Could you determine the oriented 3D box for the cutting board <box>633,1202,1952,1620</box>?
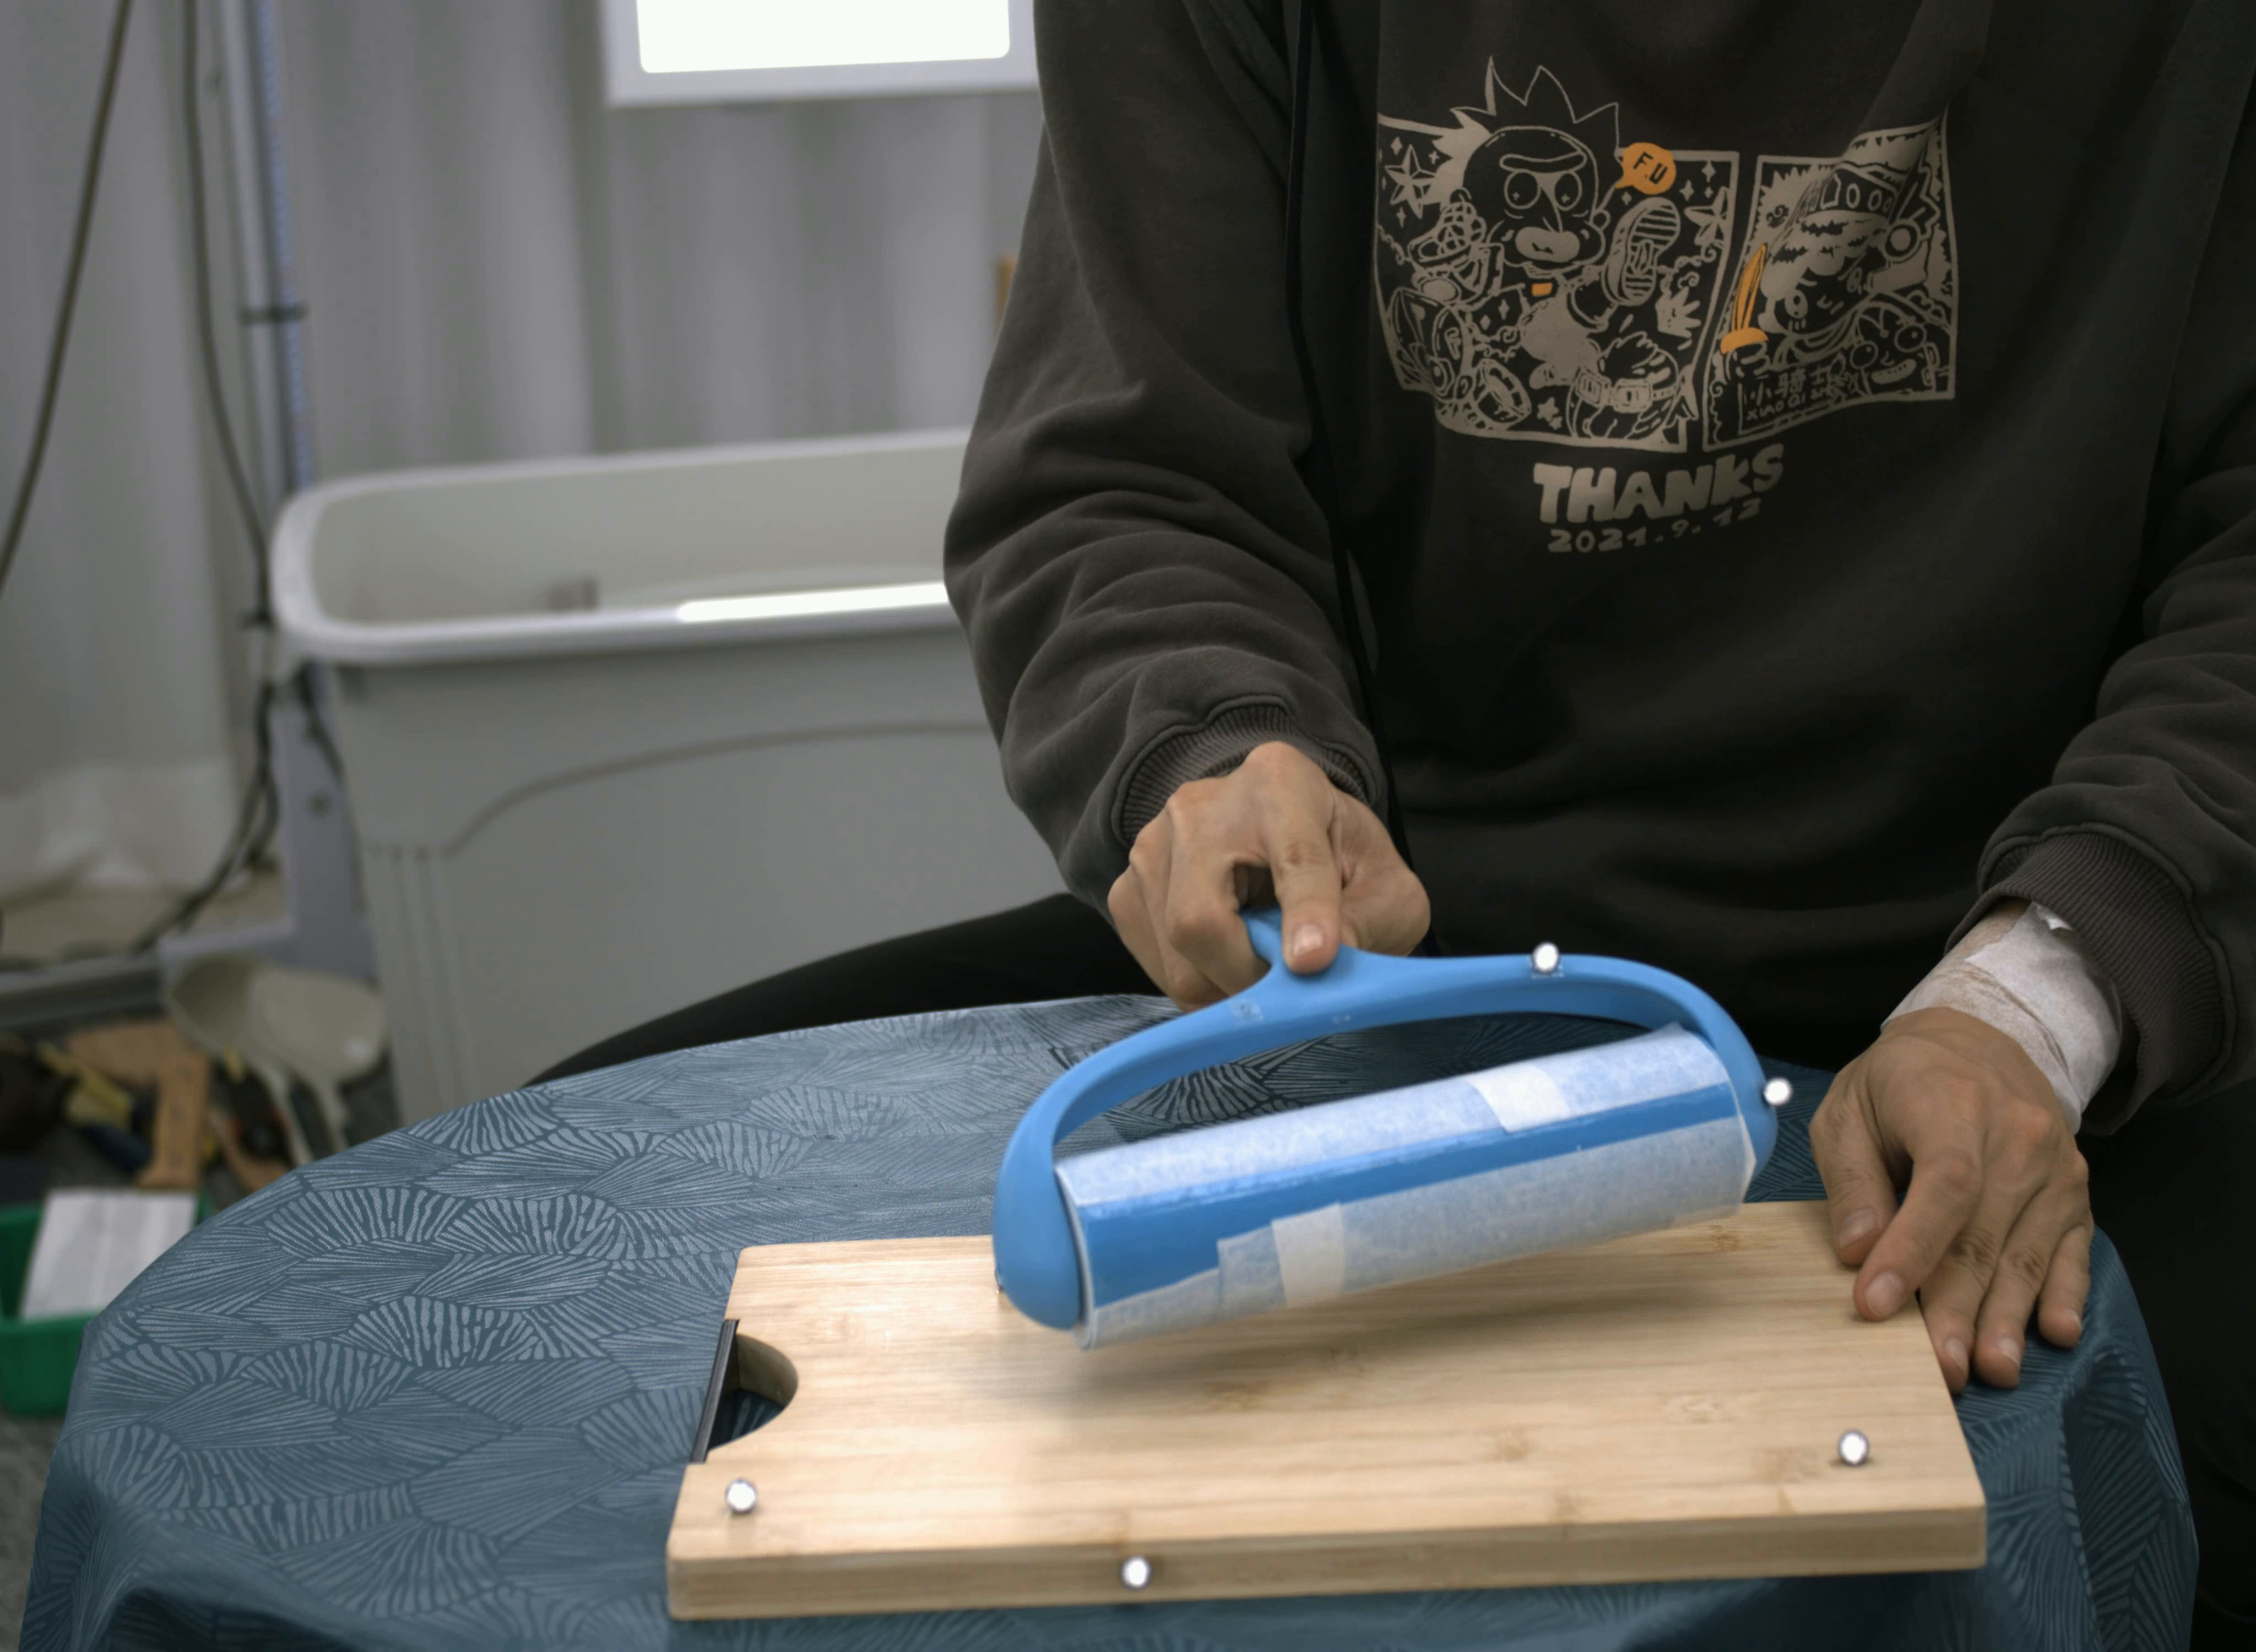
[{"bbox_3d":[0.046,0.160,1.517,0.347,0.023,0.252,-3,14,1],"label":"cutting board"}]

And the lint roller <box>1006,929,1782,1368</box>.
[{"bbox_3d":[0.054,0.070,1.563,0.228,0.067,0.183,-14,38,-17],"label":"lint roller"}]
